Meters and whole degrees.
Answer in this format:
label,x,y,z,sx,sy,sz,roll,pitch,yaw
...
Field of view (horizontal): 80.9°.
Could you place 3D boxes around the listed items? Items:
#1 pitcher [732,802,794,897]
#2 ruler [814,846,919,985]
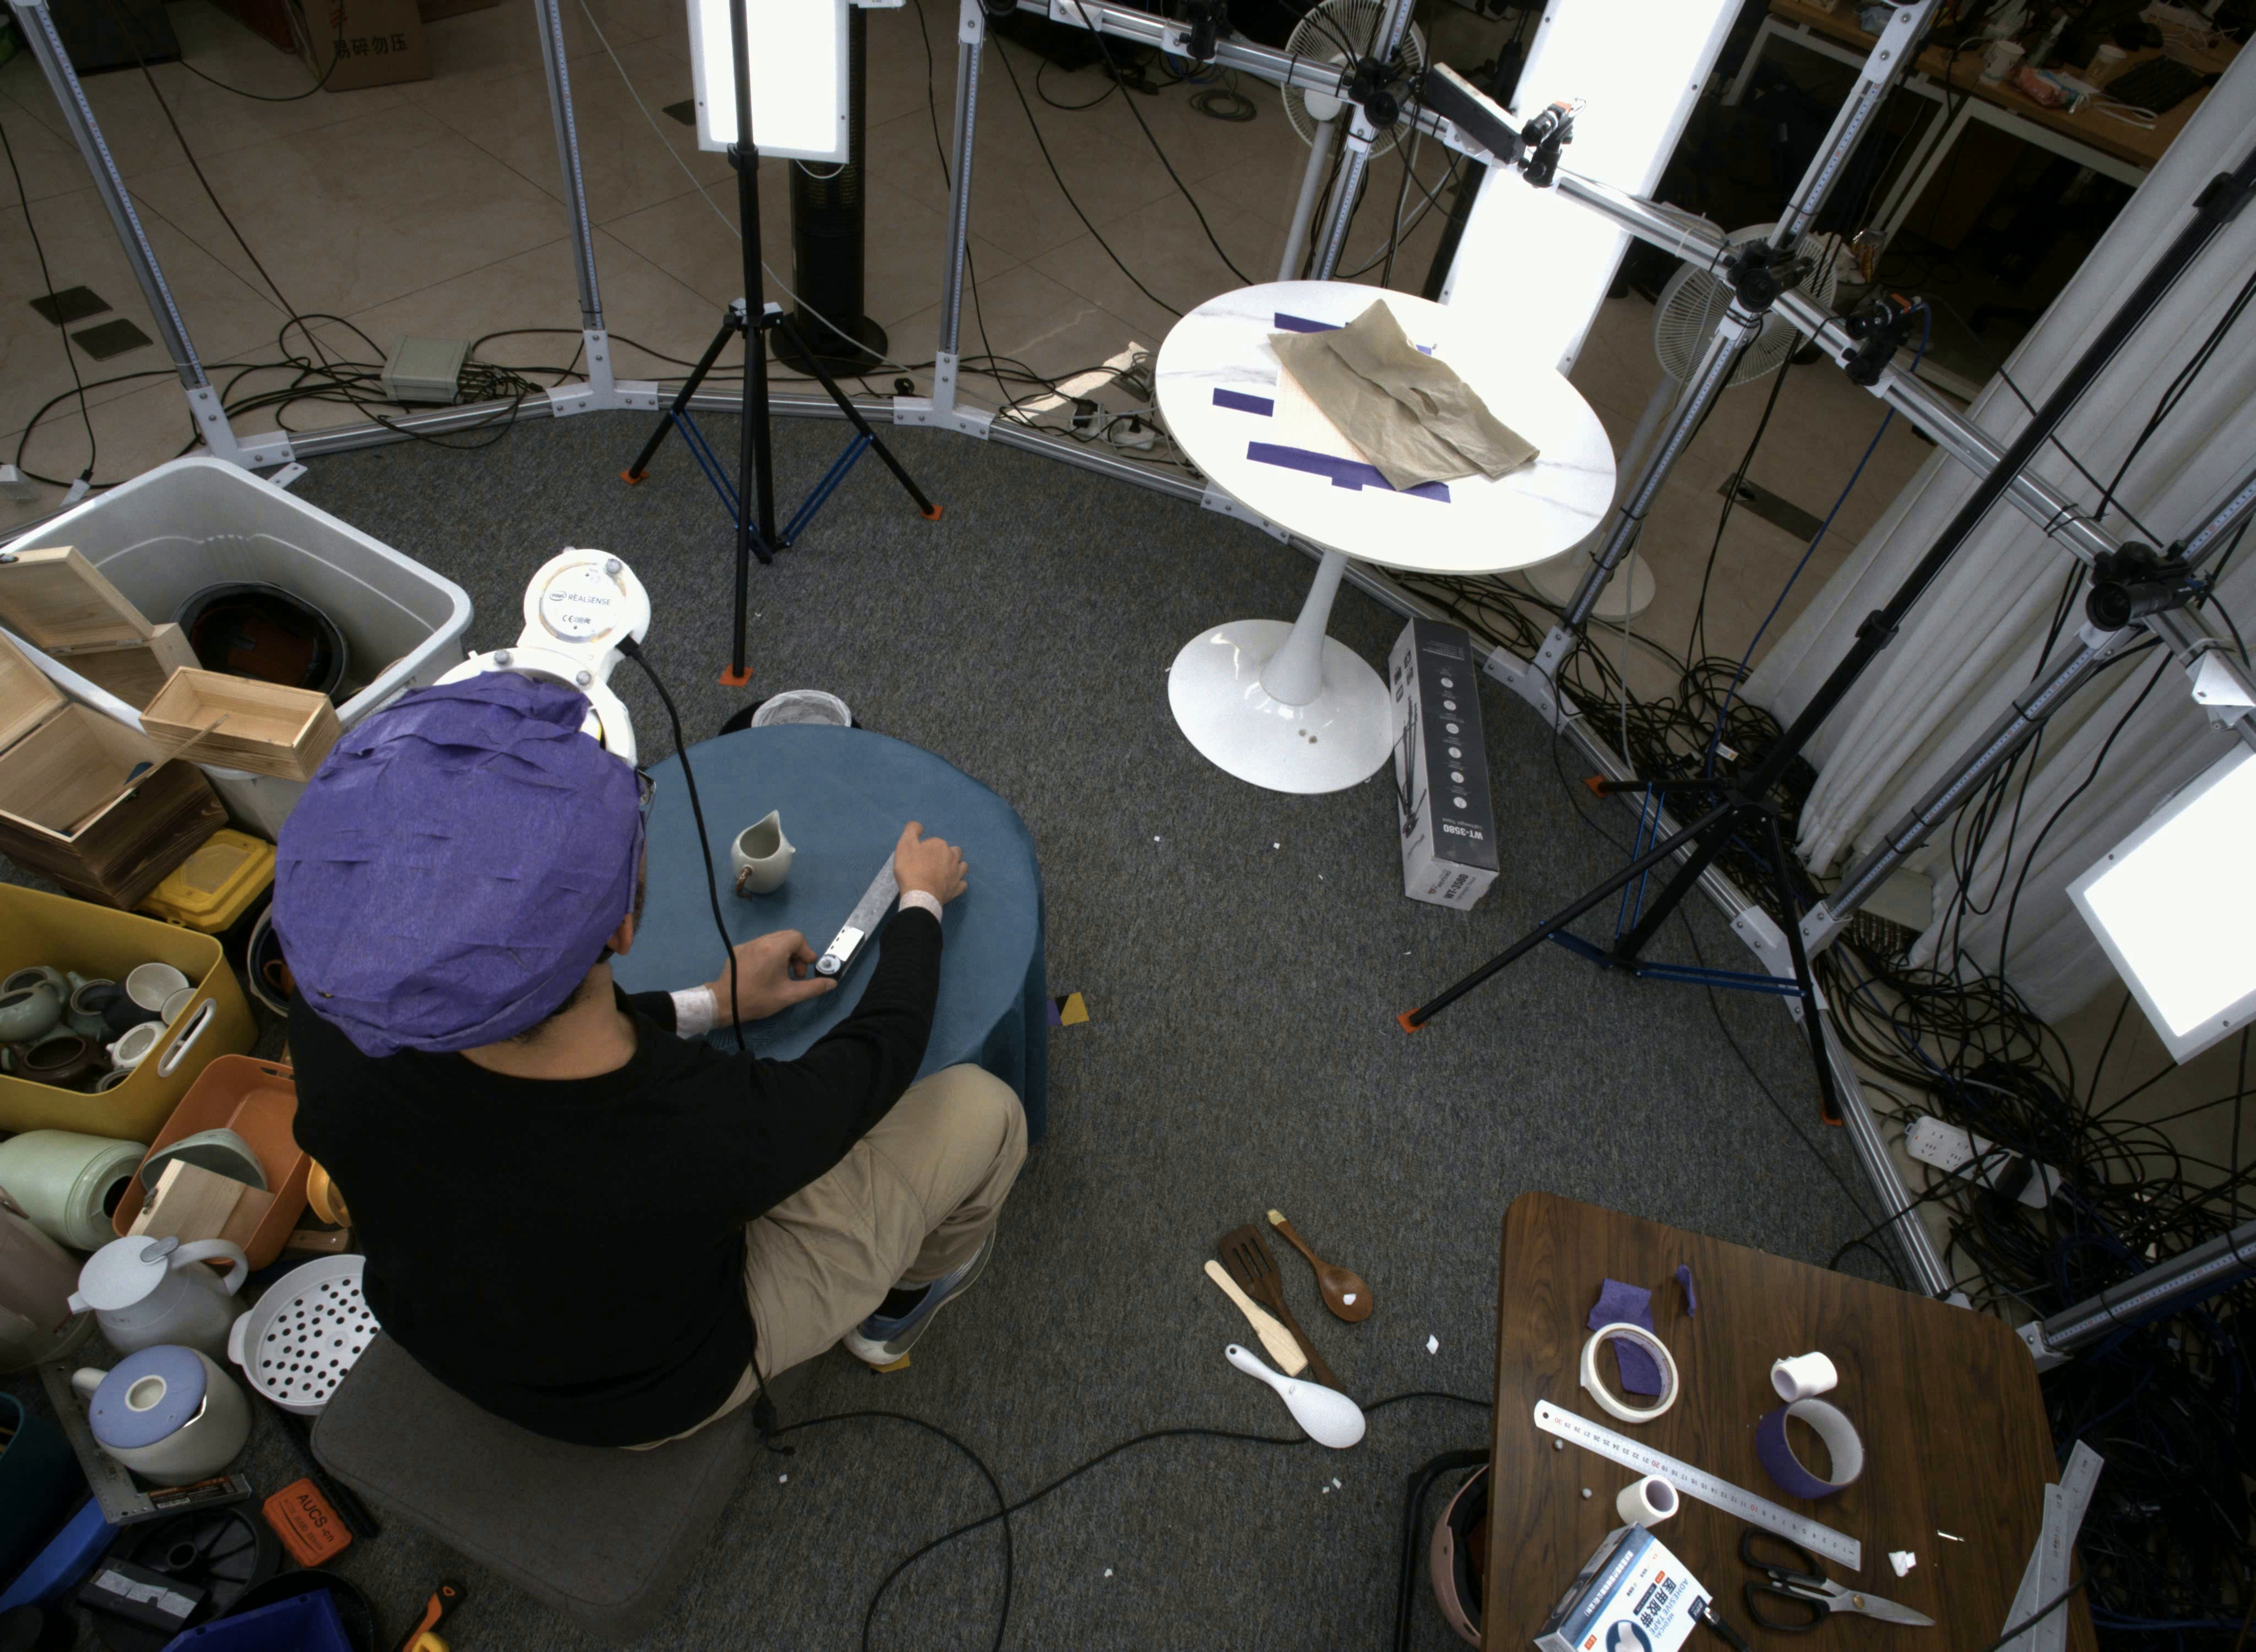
label,x,y,z,sx,sy,sz,roll,pitch,yaw
pitcher,-0.461,0.040,1.623,0.075,0.090,0.118,18,50,6
ruler,-0.326,0.105,1.622,0.038,0.024,0.216,29,53,0
